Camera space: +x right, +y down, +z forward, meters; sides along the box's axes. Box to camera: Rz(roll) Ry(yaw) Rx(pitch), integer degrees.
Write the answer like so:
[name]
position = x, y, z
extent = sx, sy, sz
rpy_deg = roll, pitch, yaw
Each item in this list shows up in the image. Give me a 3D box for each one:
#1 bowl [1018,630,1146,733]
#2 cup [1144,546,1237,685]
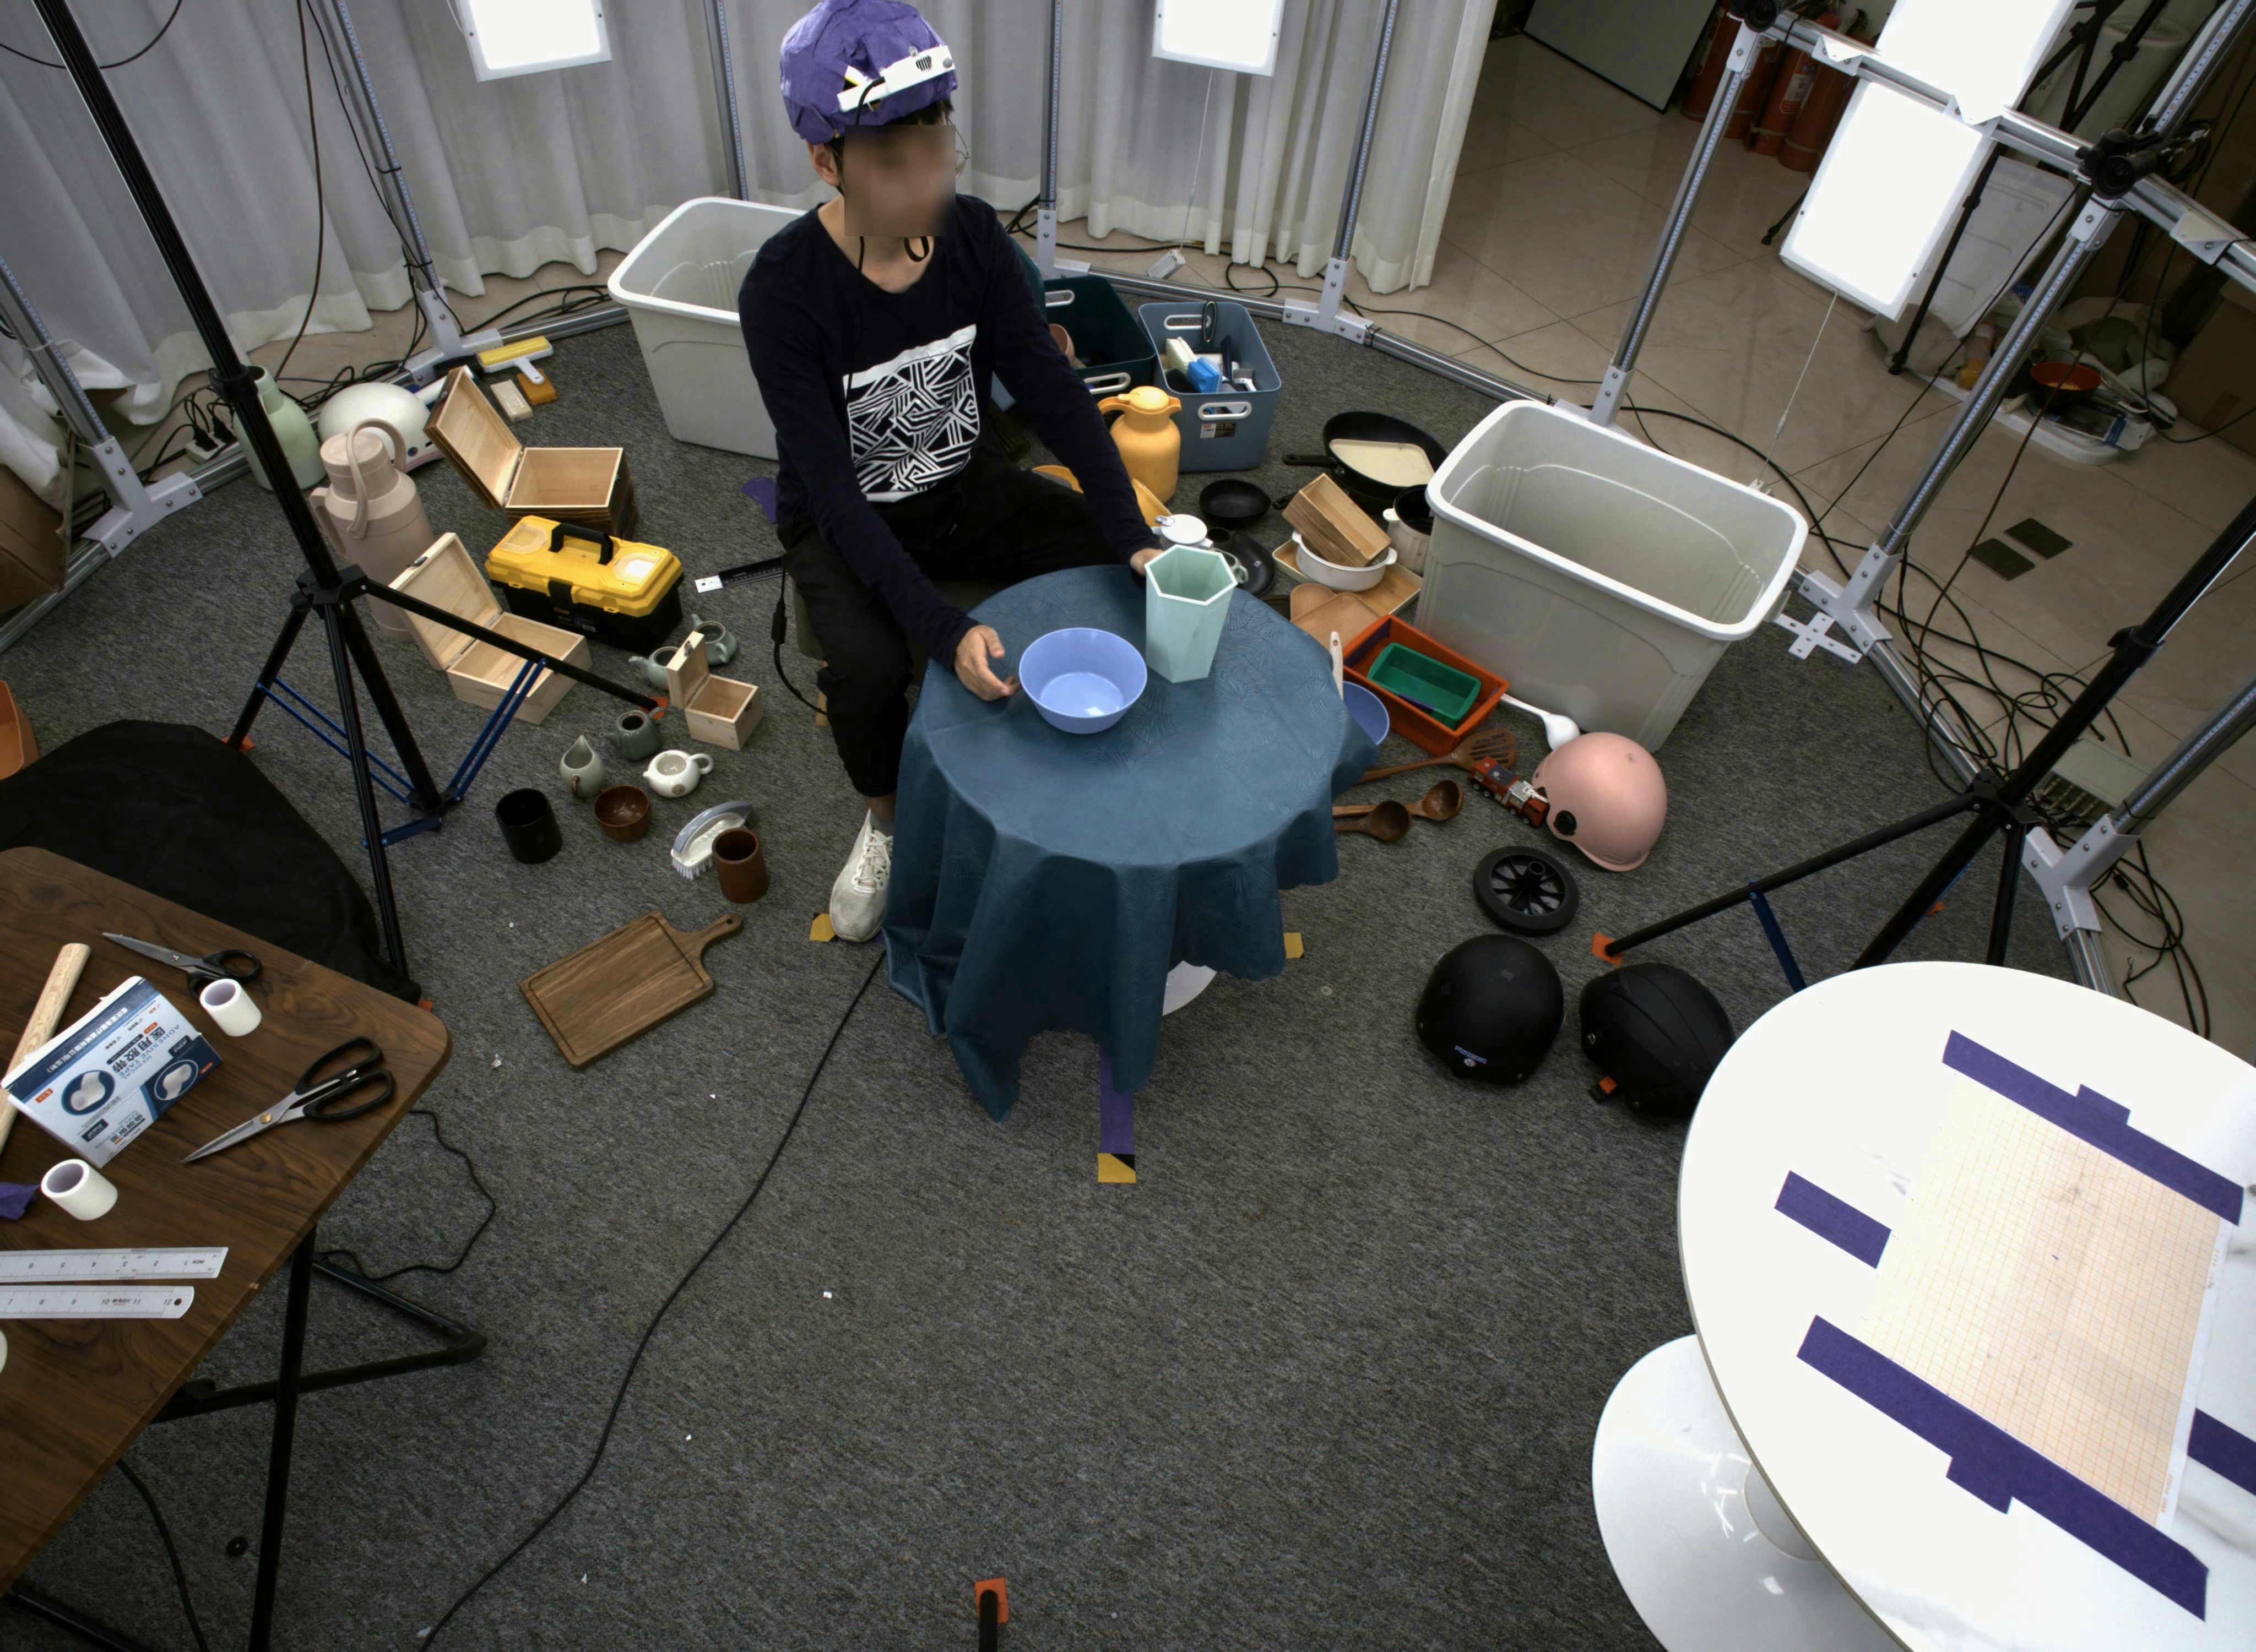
[bowl]
position = -0.064, -0.193, 1.785
extent = 0.176, 0.068, 0.180
rpy_deg = 2, 48, -2
[cup]
position = 0.083, -0.295, 1.825
extent = 0.117, 0.159, 0.132
rpy_deg = 33, 53, 25
